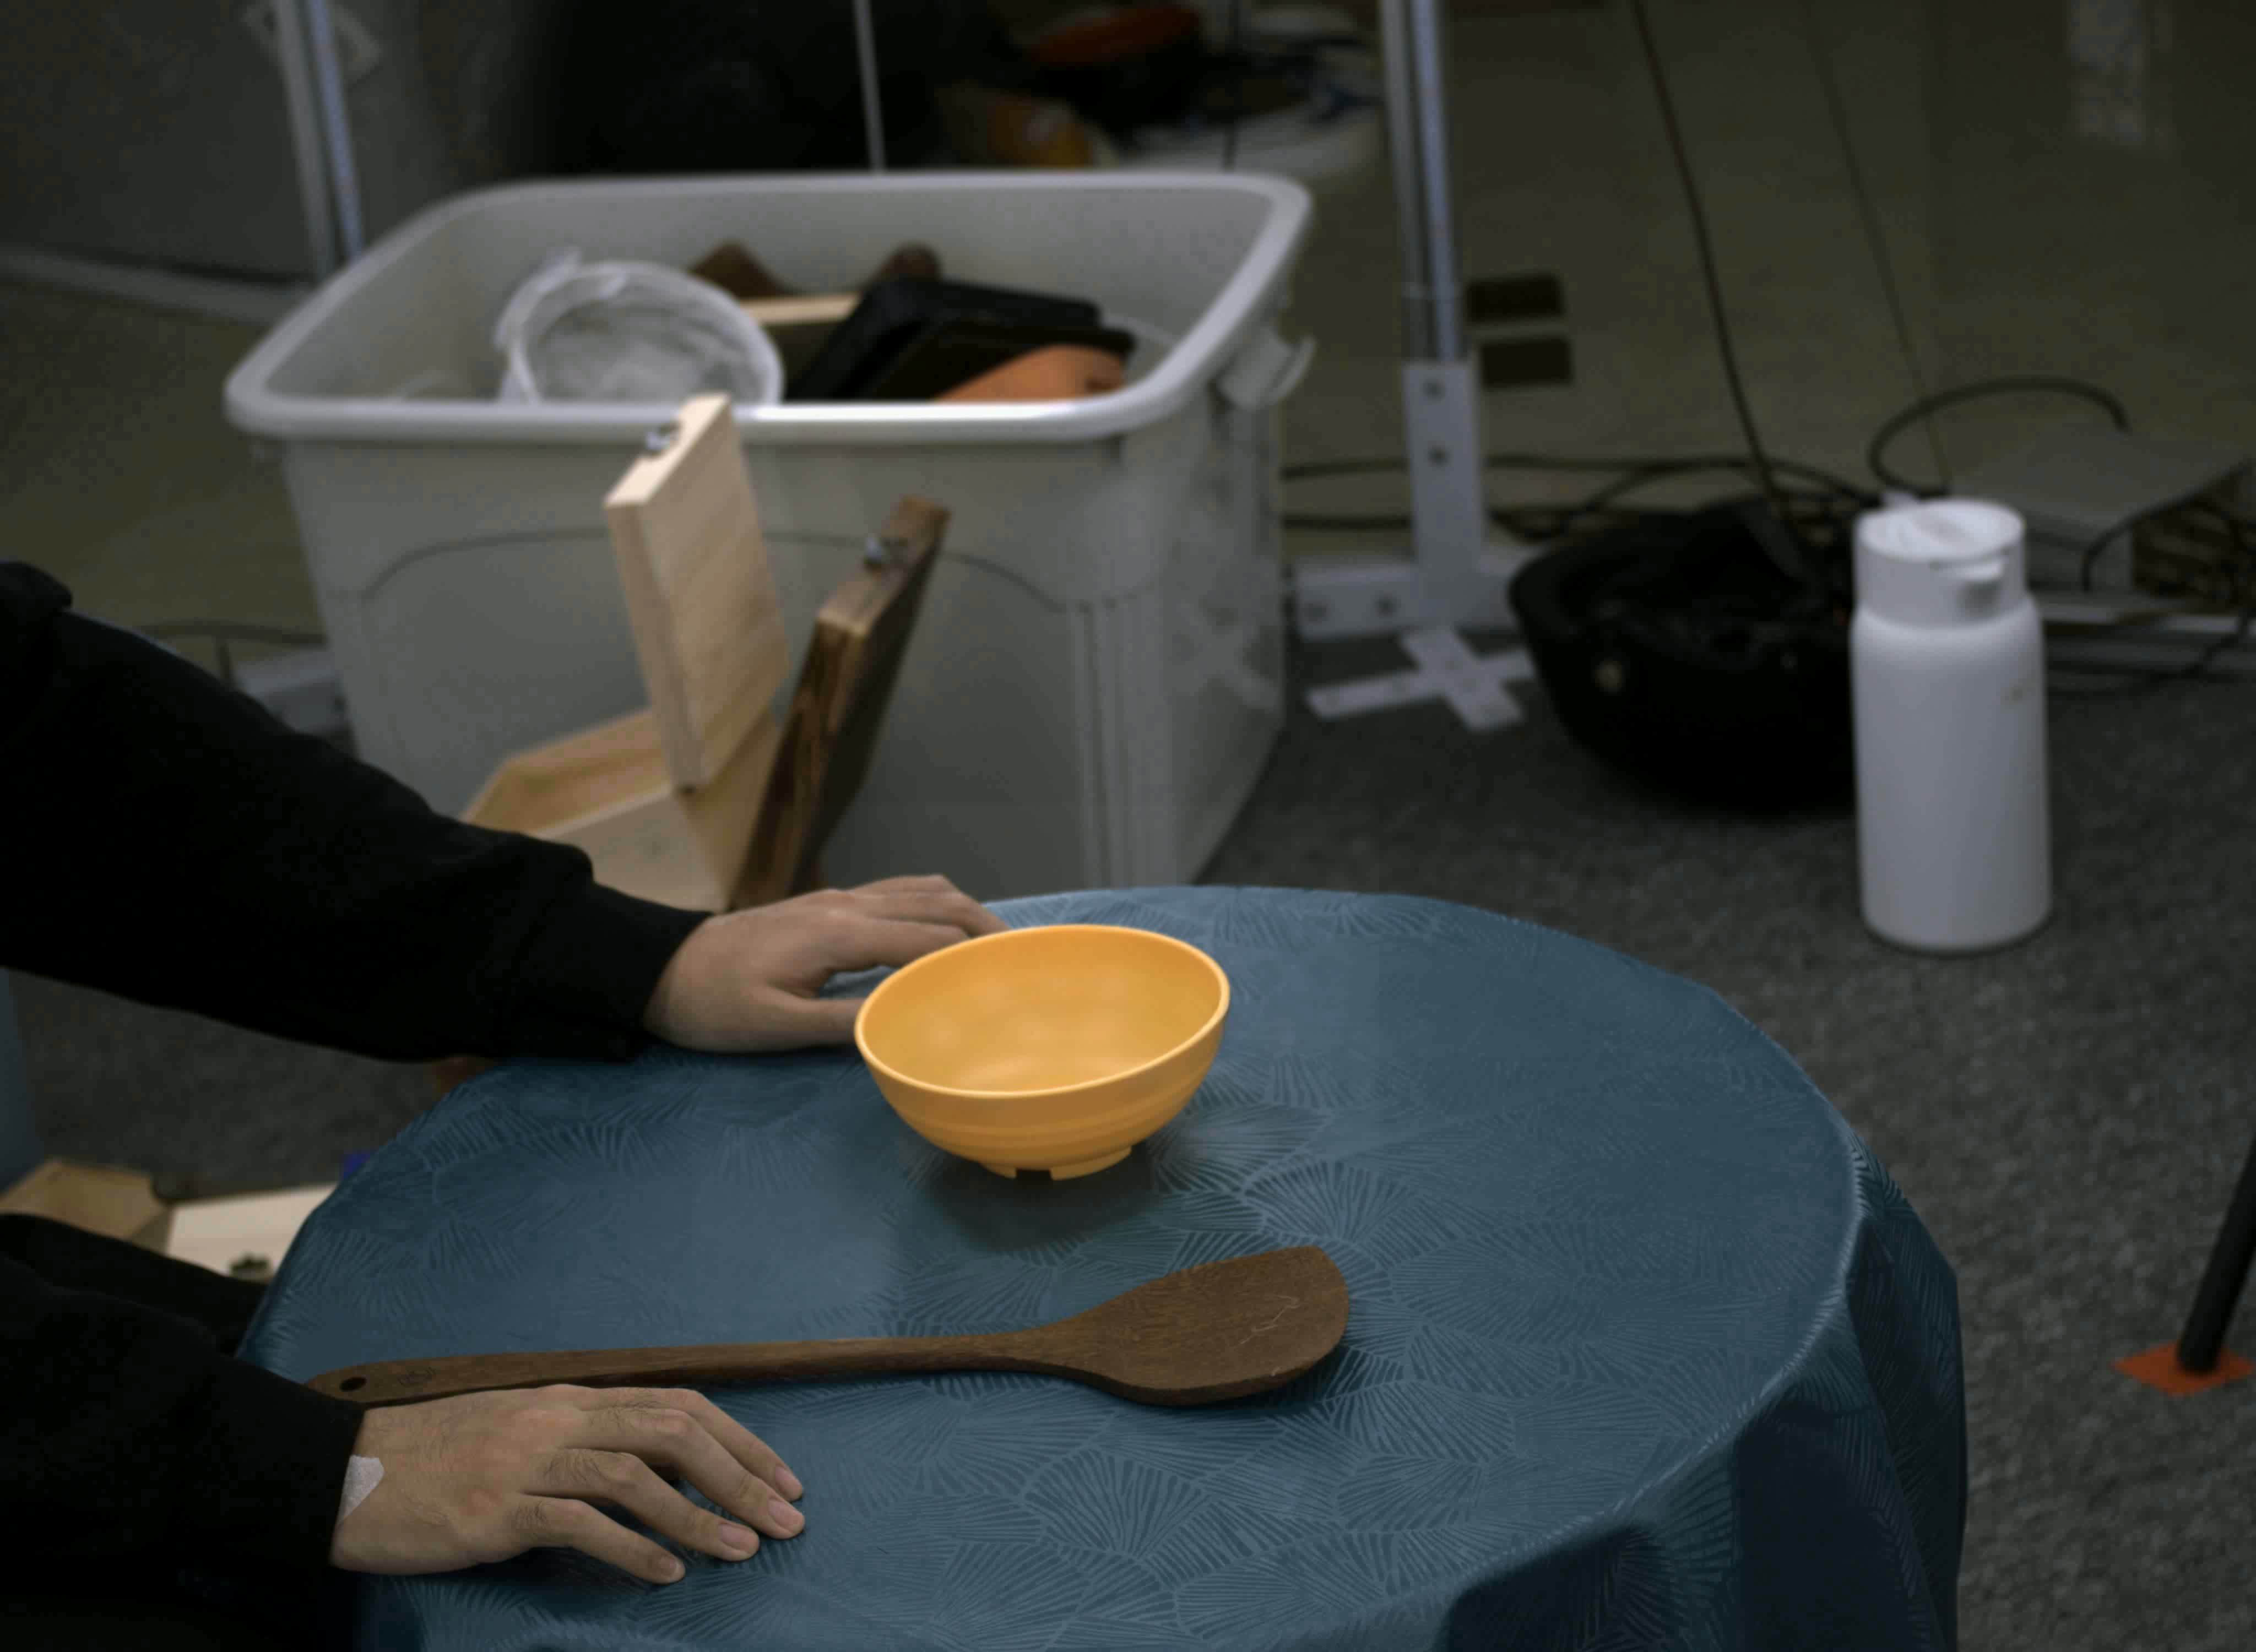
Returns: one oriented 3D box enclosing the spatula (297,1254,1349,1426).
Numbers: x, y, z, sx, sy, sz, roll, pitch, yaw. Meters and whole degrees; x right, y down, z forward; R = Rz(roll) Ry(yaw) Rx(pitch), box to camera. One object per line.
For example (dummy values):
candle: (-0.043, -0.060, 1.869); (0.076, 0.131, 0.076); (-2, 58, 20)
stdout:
spatula: (-0.112, 0.193, 2.049); (0.385, 0.016, 0.095); (-4, 24, 5)

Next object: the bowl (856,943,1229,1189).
bowl: (-0.030, 0.099, 2.181); (0.145, 0.061, 0.143); (-6, 22, 3)
